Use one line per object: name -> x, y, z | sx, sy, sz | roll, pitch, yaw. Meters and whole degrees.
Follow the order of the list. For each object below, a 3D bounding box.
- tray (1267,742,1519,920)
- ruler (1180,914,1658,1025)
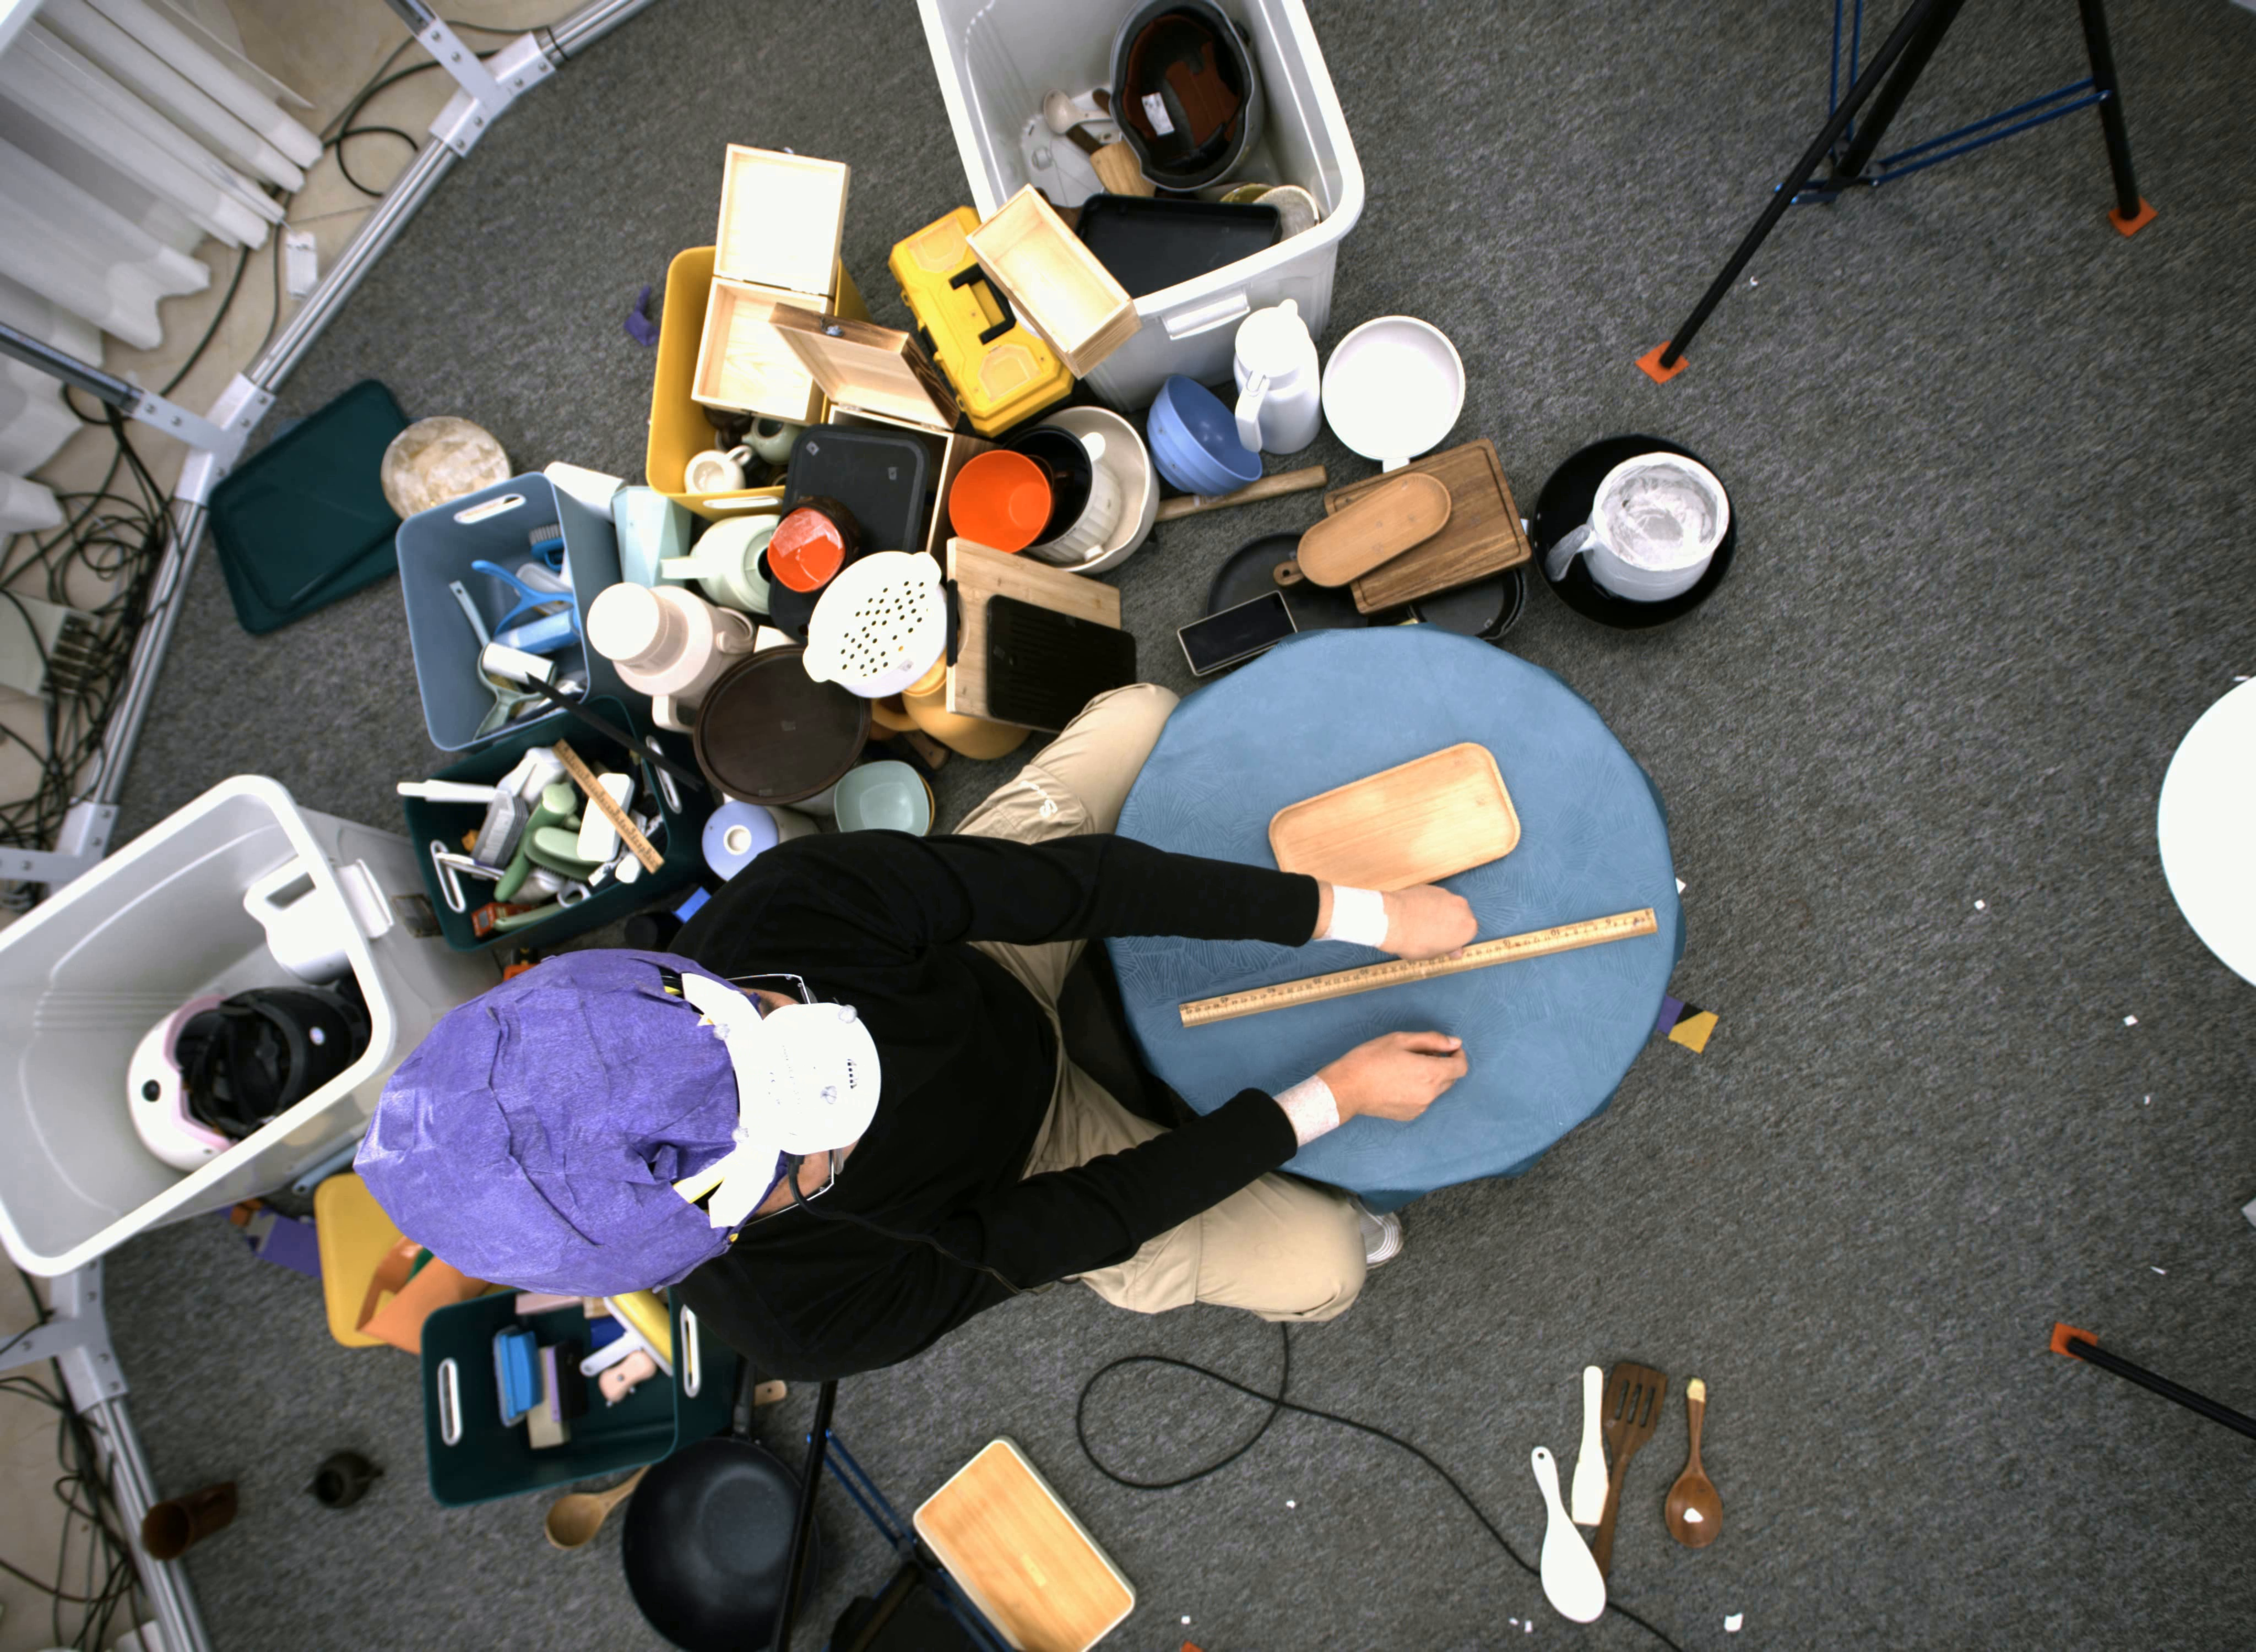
tray -> 0.278, 0.005, 1.454 | 0.252, 0.023, 0.129 | -19, 81, 10
ruler -> 0.299, 0.148, 1.445 | 0.503, 0.006, 0.027 | -12, 95, 10
